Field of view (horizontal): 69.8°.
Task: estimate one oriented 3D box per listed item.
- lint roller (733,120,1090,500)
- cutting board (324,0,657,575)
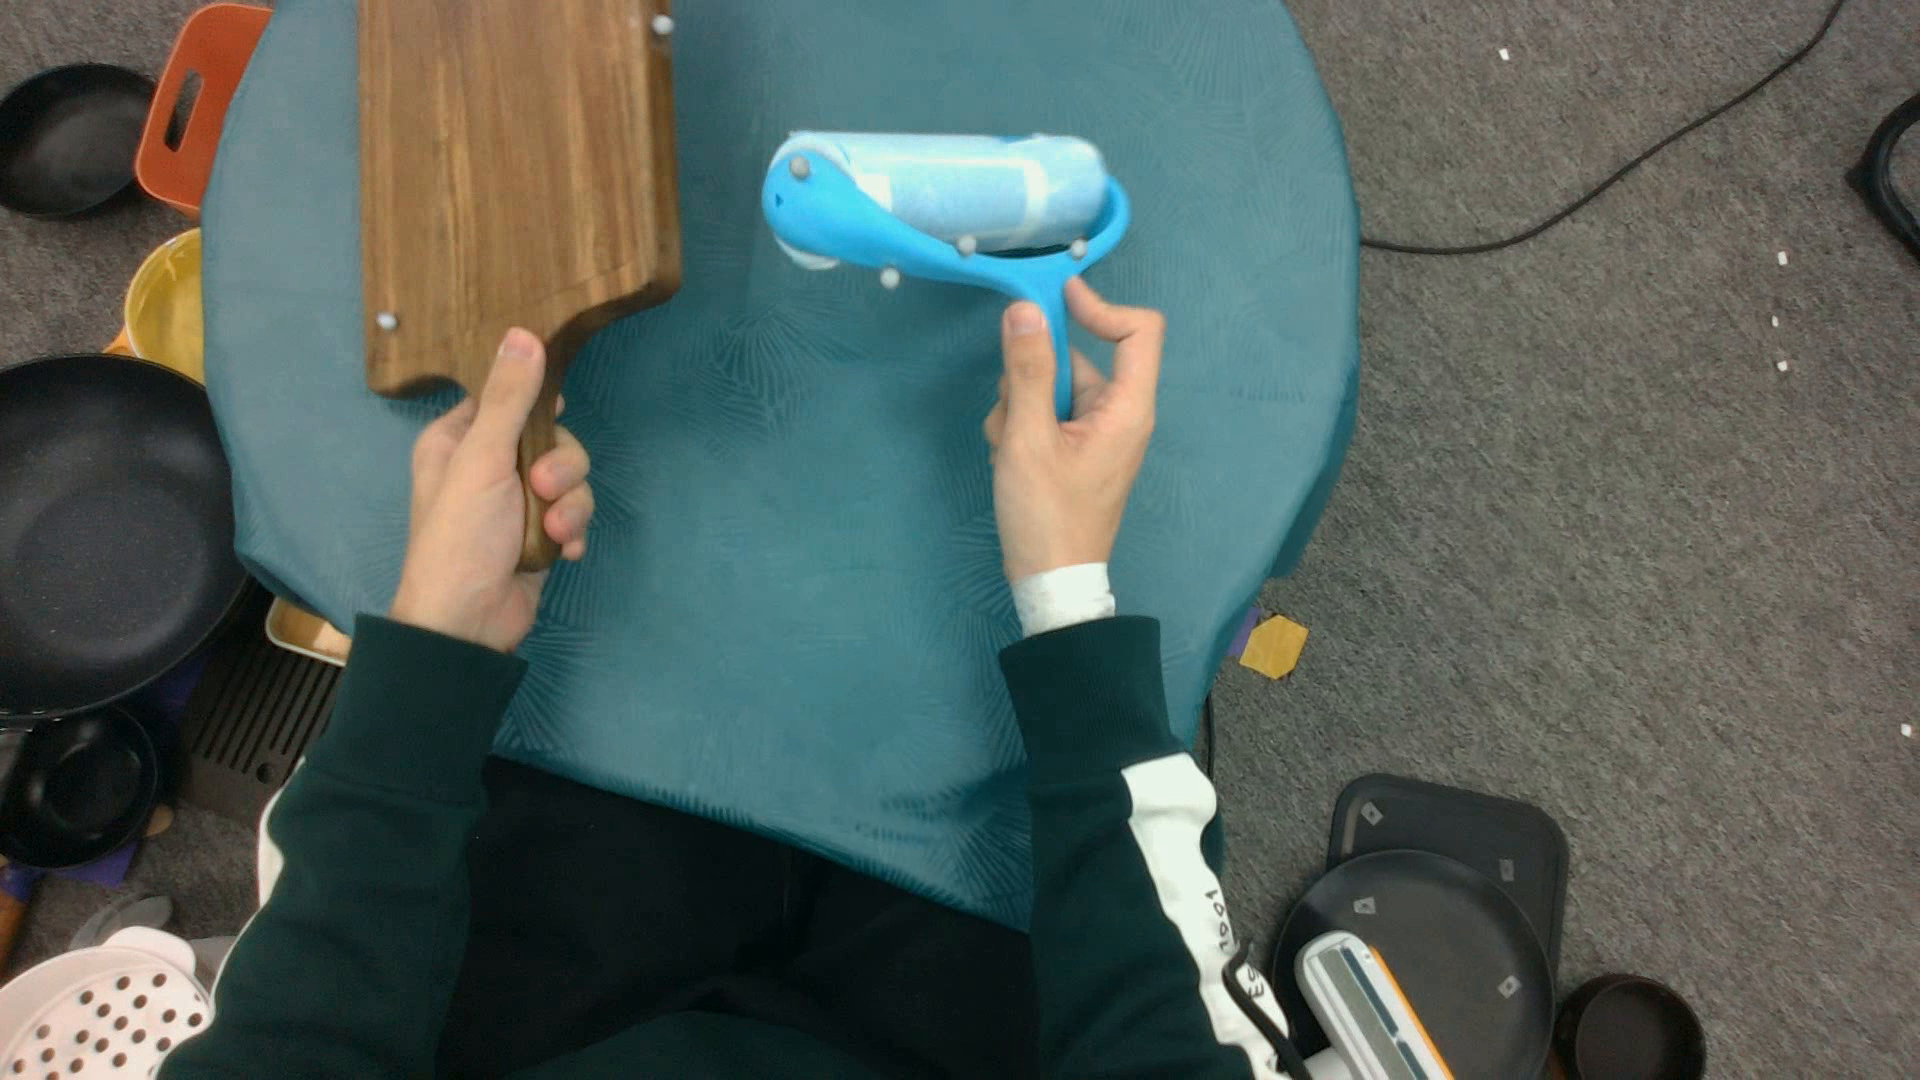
[{"bbox_3d":[0.006,-0.111,0.639,0.230,0.067,0.180,-29,93,-54],"label":"lint roller"},{"bbox_3d":[-0.222,-0.156,0.637,0.200,0.023,0.352,-16,77,32],"label":"cutting board"}]
